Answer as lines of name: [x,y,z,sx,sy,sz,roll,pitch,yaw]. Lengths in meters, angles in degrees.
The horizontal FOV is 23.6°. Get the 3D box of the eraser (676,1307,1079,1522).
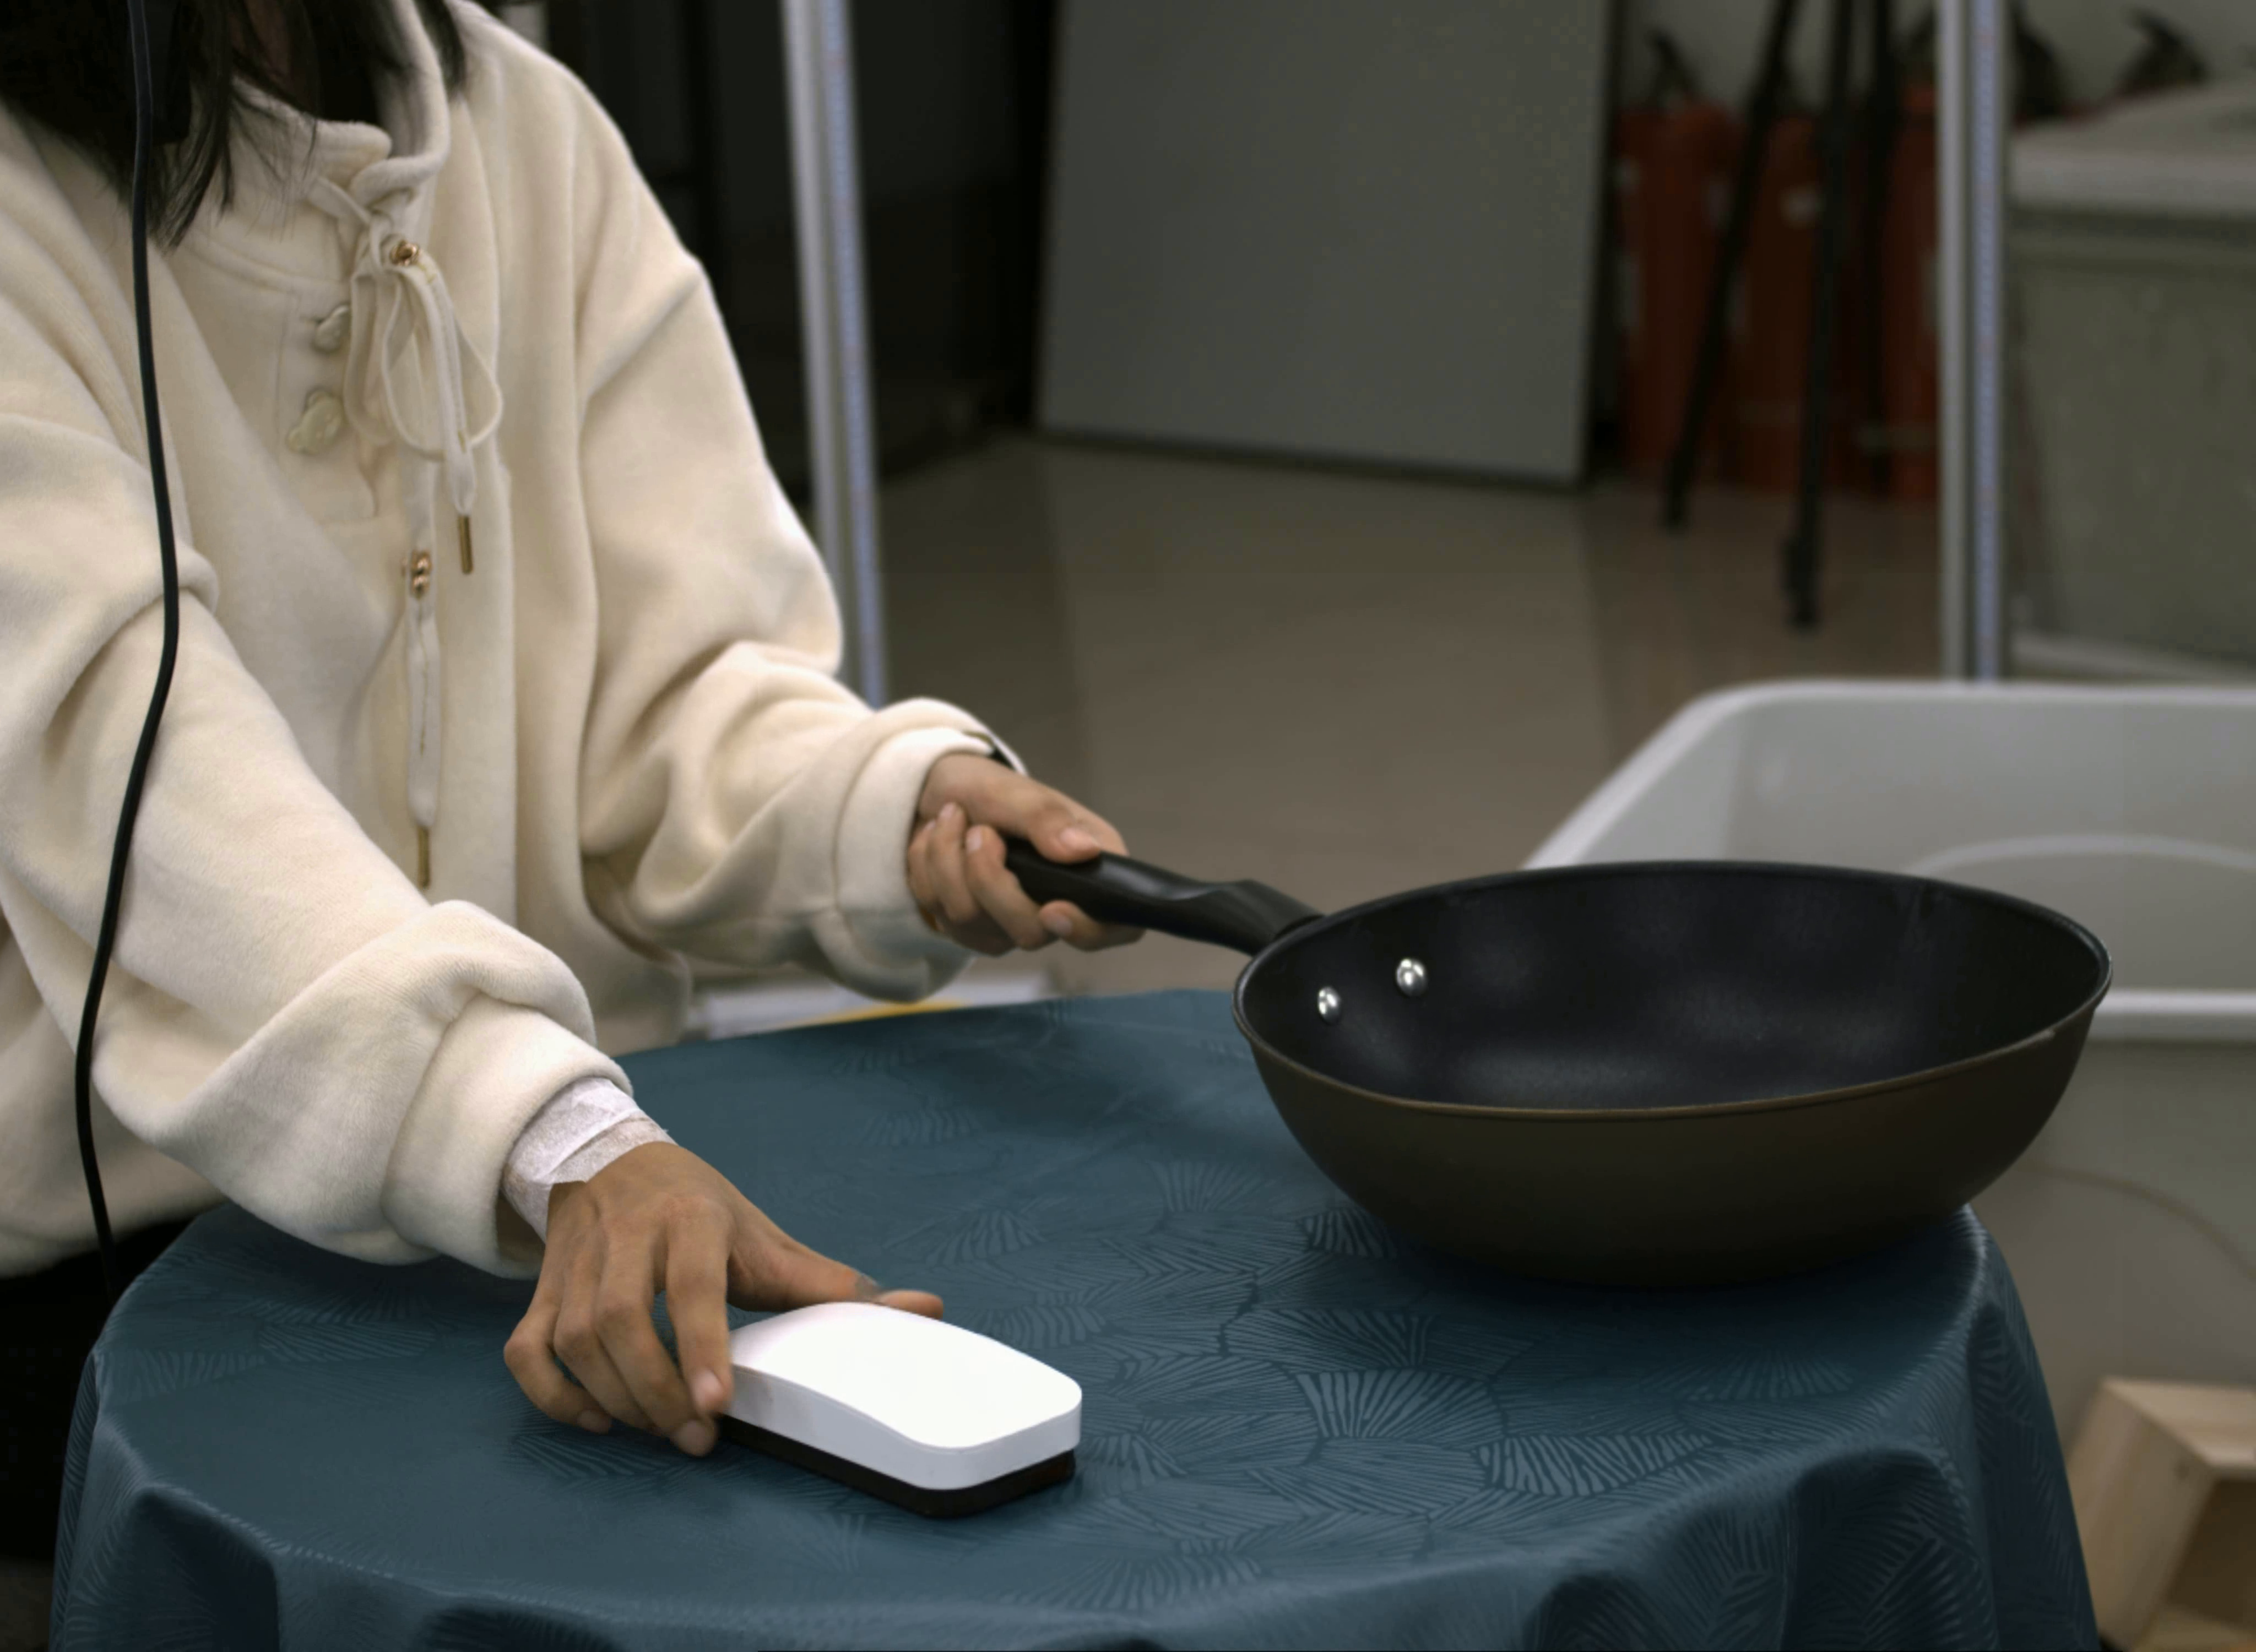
eraser: [-0.071,0.165,1.549,0.062,0.035,0.132,-12,16,-39]

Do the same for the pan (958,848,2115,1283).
pan: [0.107,0.072,1.762,0.467,0.088,0.282,8,18,44]
